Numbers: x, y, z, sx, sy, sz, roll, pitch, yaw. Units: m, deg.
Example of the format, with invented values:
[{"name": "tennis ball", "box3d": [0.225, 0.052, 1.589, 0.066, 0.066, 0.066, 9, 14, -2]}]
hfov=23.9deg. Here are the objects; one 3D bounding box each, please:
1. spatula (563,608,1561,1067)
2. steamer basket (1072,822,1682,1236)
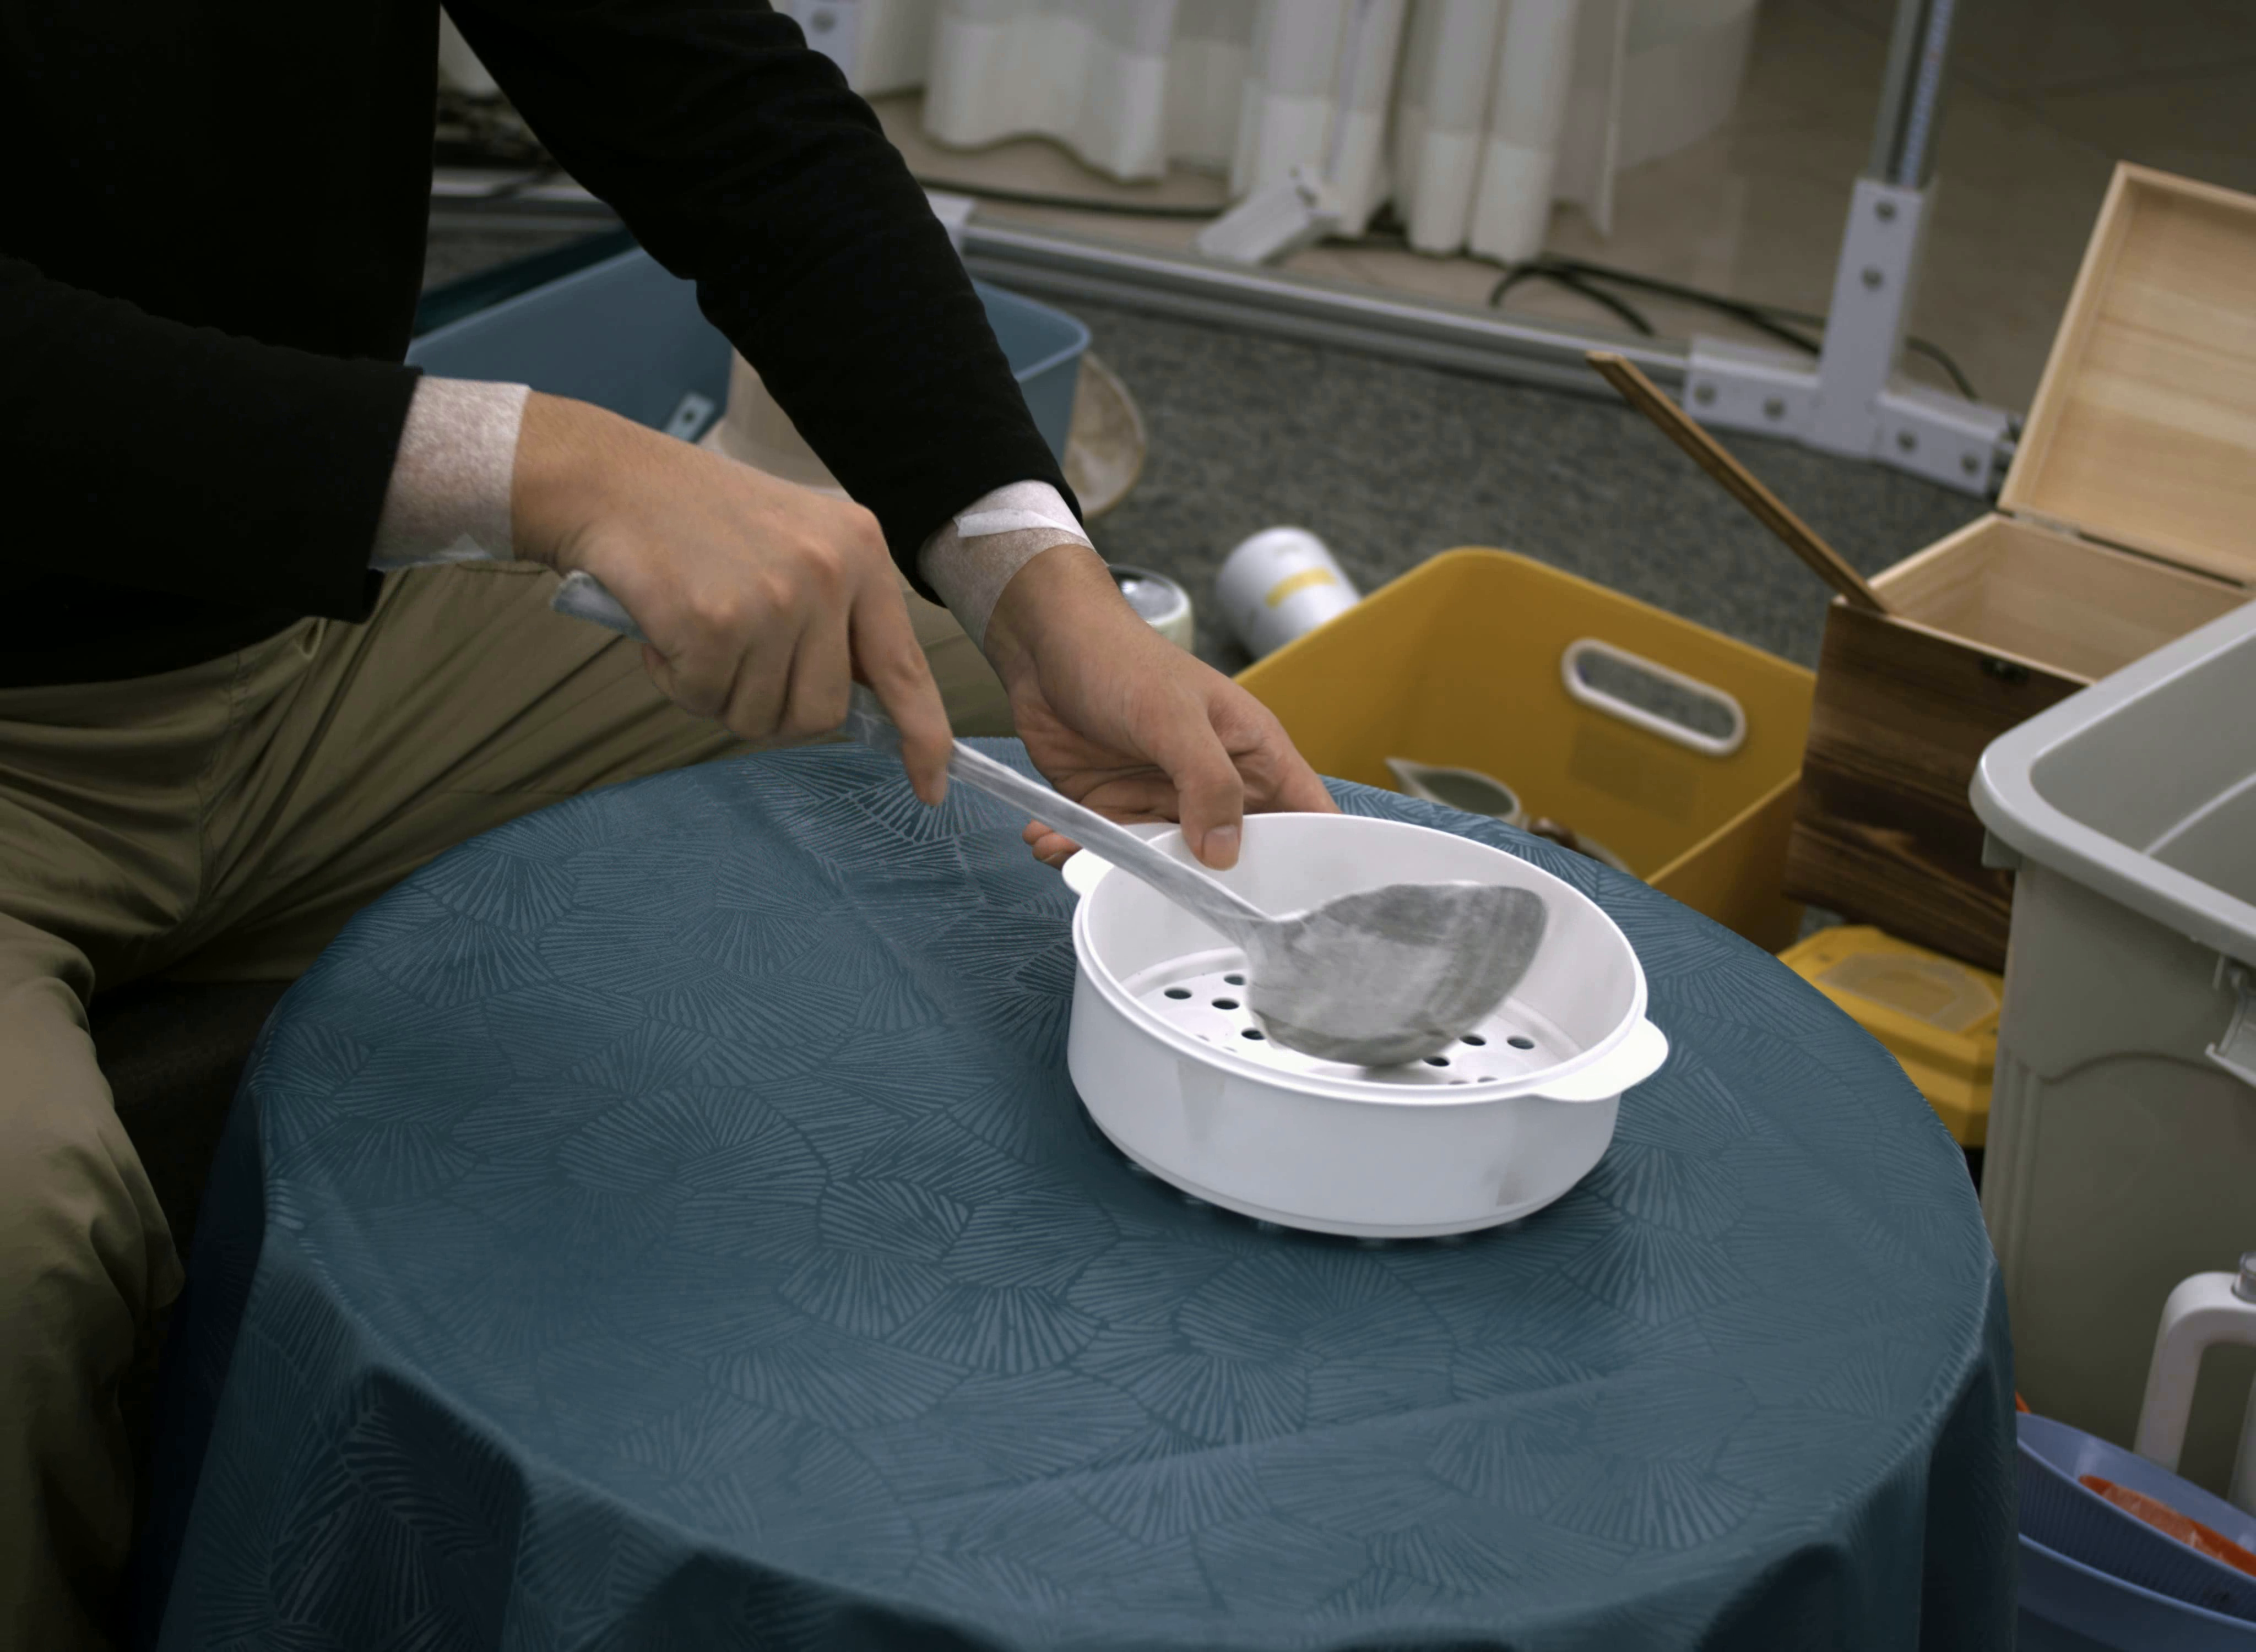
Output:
[{"name": "spatula", "box3d": [-0.022, -0.004, 1.795, 0.363, 0.098, 0.045, 27, 37, -15]}, {"name": "steamer basket", "box3d": [0.081, 0.071, 1.847, 0.232, 0.069, 0.201, 22, 30, 30]}]
